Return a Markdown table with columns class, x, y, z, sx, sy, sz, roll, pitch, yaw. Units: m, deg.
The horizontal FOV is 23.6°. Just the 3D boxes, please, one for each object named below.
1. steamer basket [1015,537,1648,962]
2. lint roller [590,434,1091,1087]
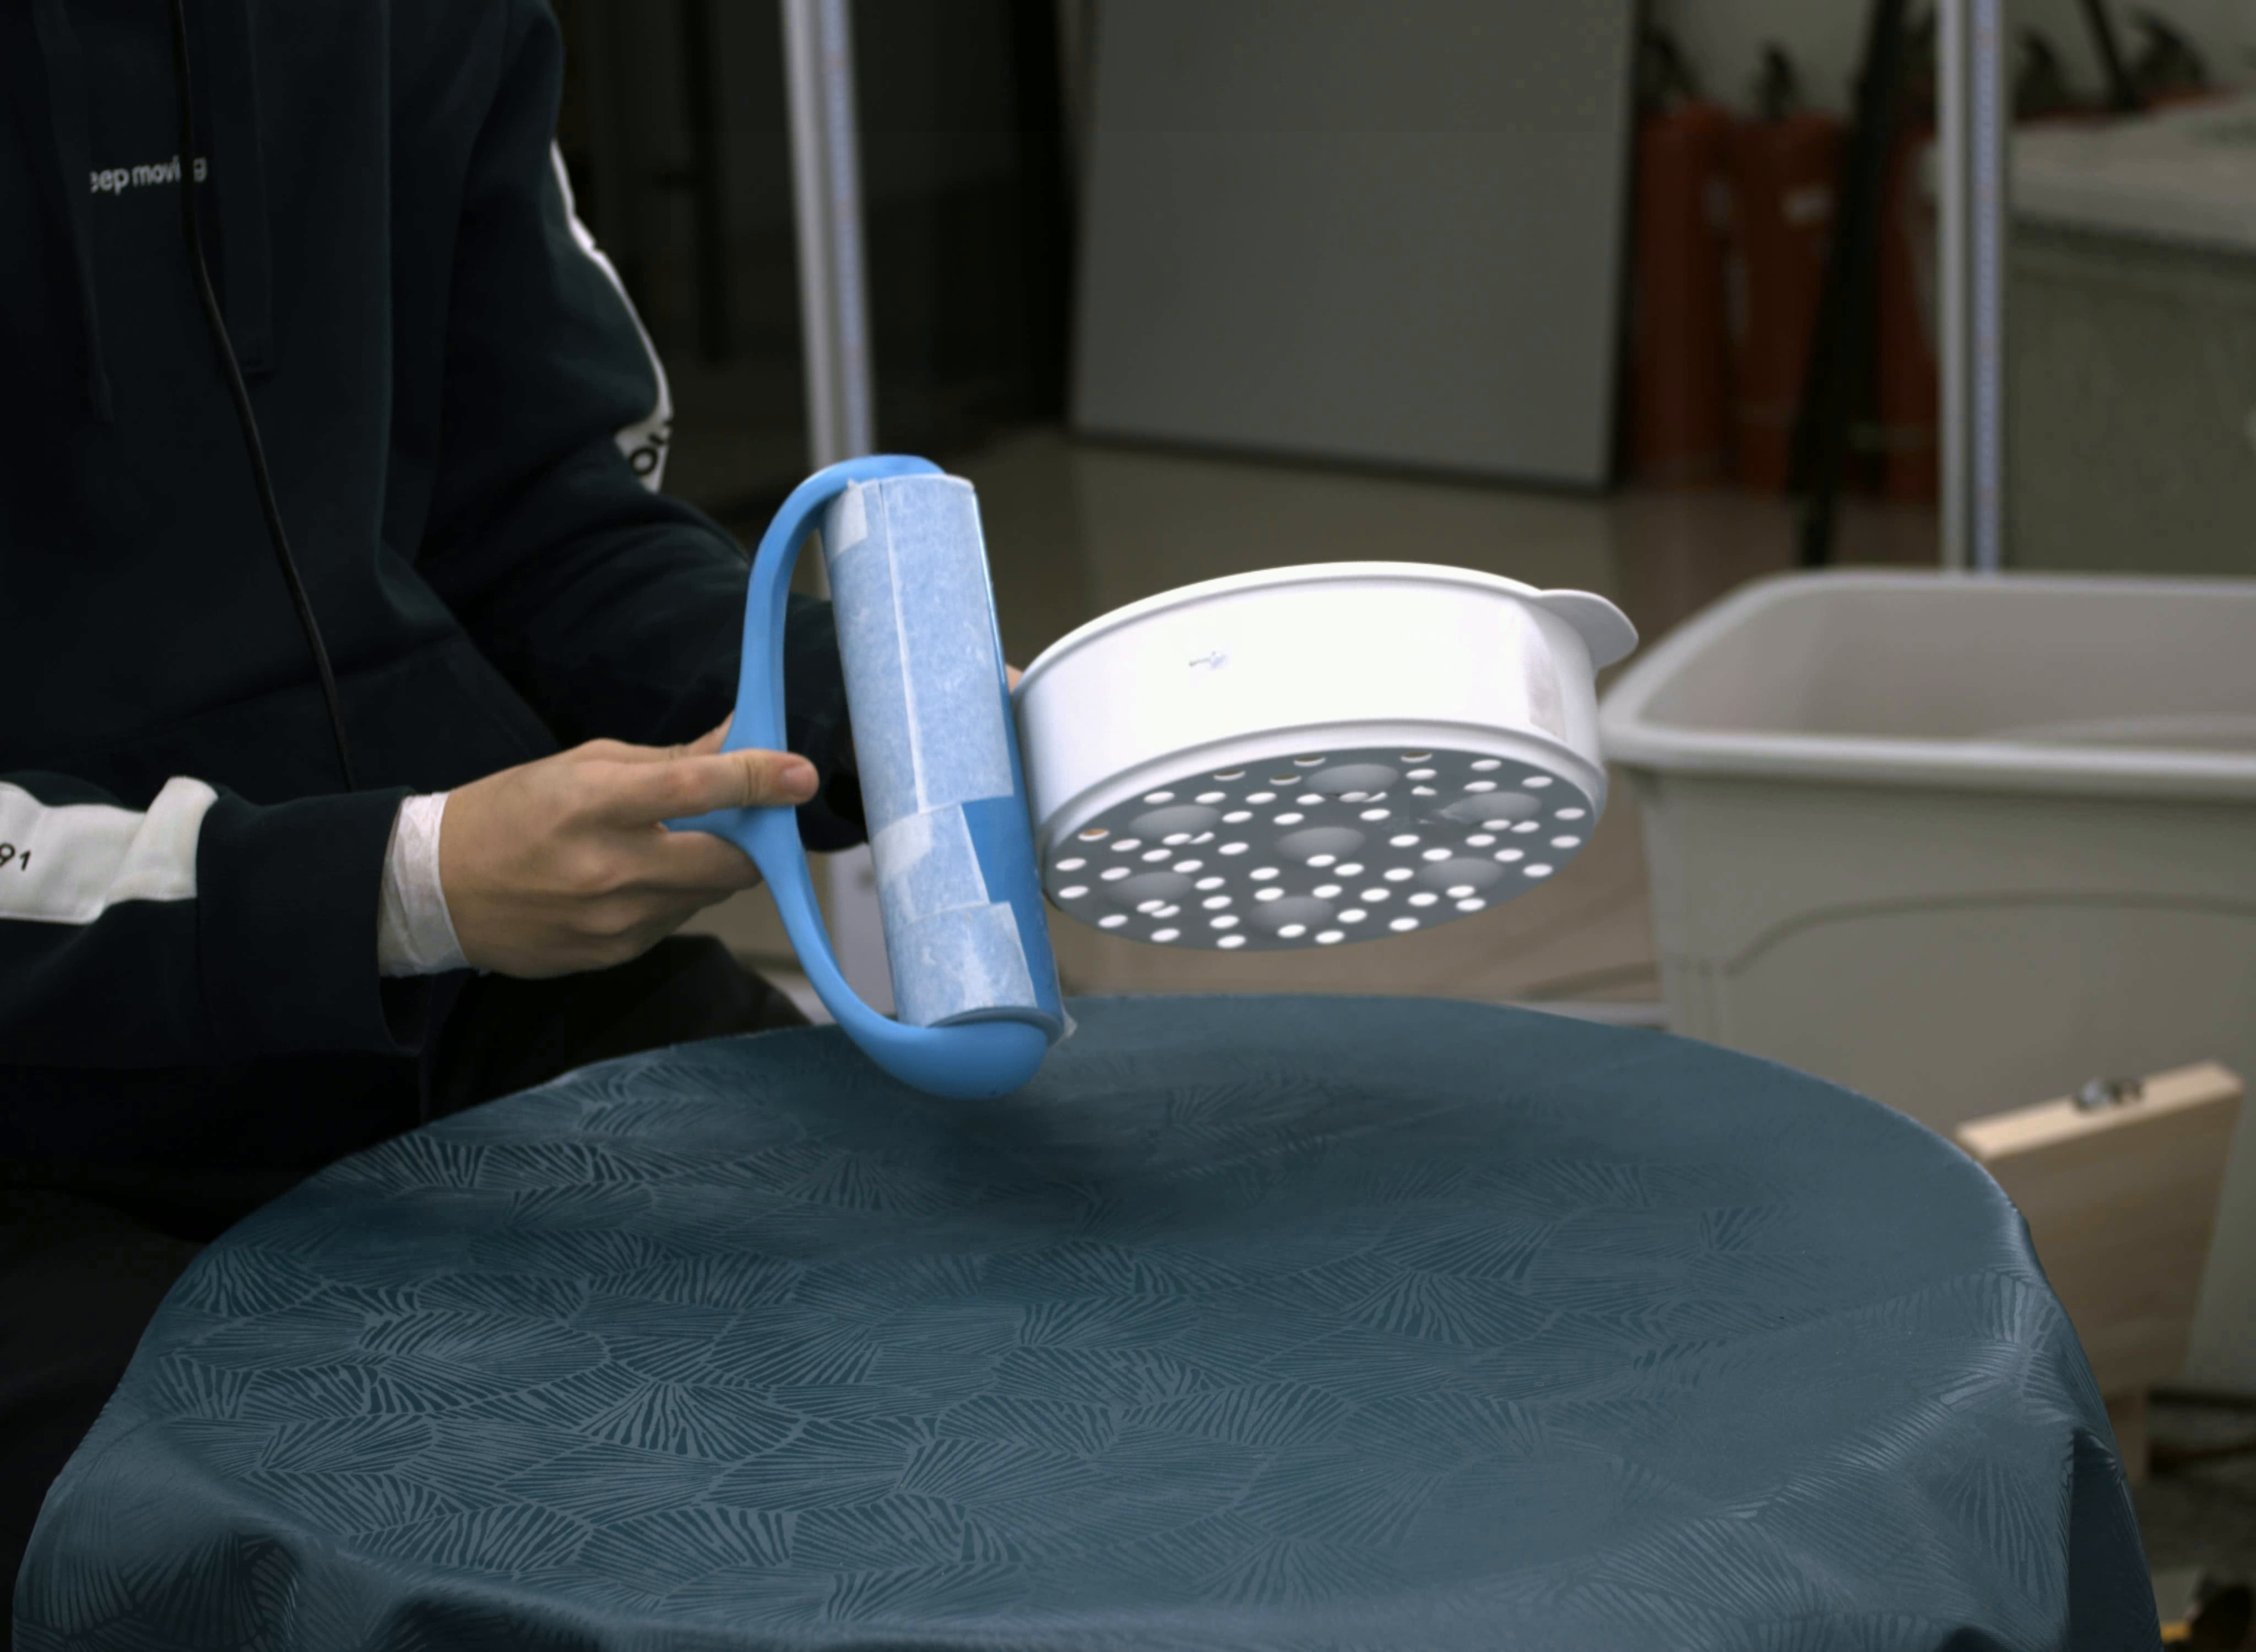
| class | x | y | z | sx | sy | sz | roll | pitch | yaw |
| --- | --- | --- | --- | --- | --- | --- | --- | --- | --- |
| steamer basket | 0.064 | -0.019 | 1.782 | 0.230 | 0.070 | 0.199 | -15 | -26 | 19 |
| lint roller | -0.110 | -0.003 | 1.777 | 0.180 | 0.232 | 0.067 | -22 | -23 | 17 |
